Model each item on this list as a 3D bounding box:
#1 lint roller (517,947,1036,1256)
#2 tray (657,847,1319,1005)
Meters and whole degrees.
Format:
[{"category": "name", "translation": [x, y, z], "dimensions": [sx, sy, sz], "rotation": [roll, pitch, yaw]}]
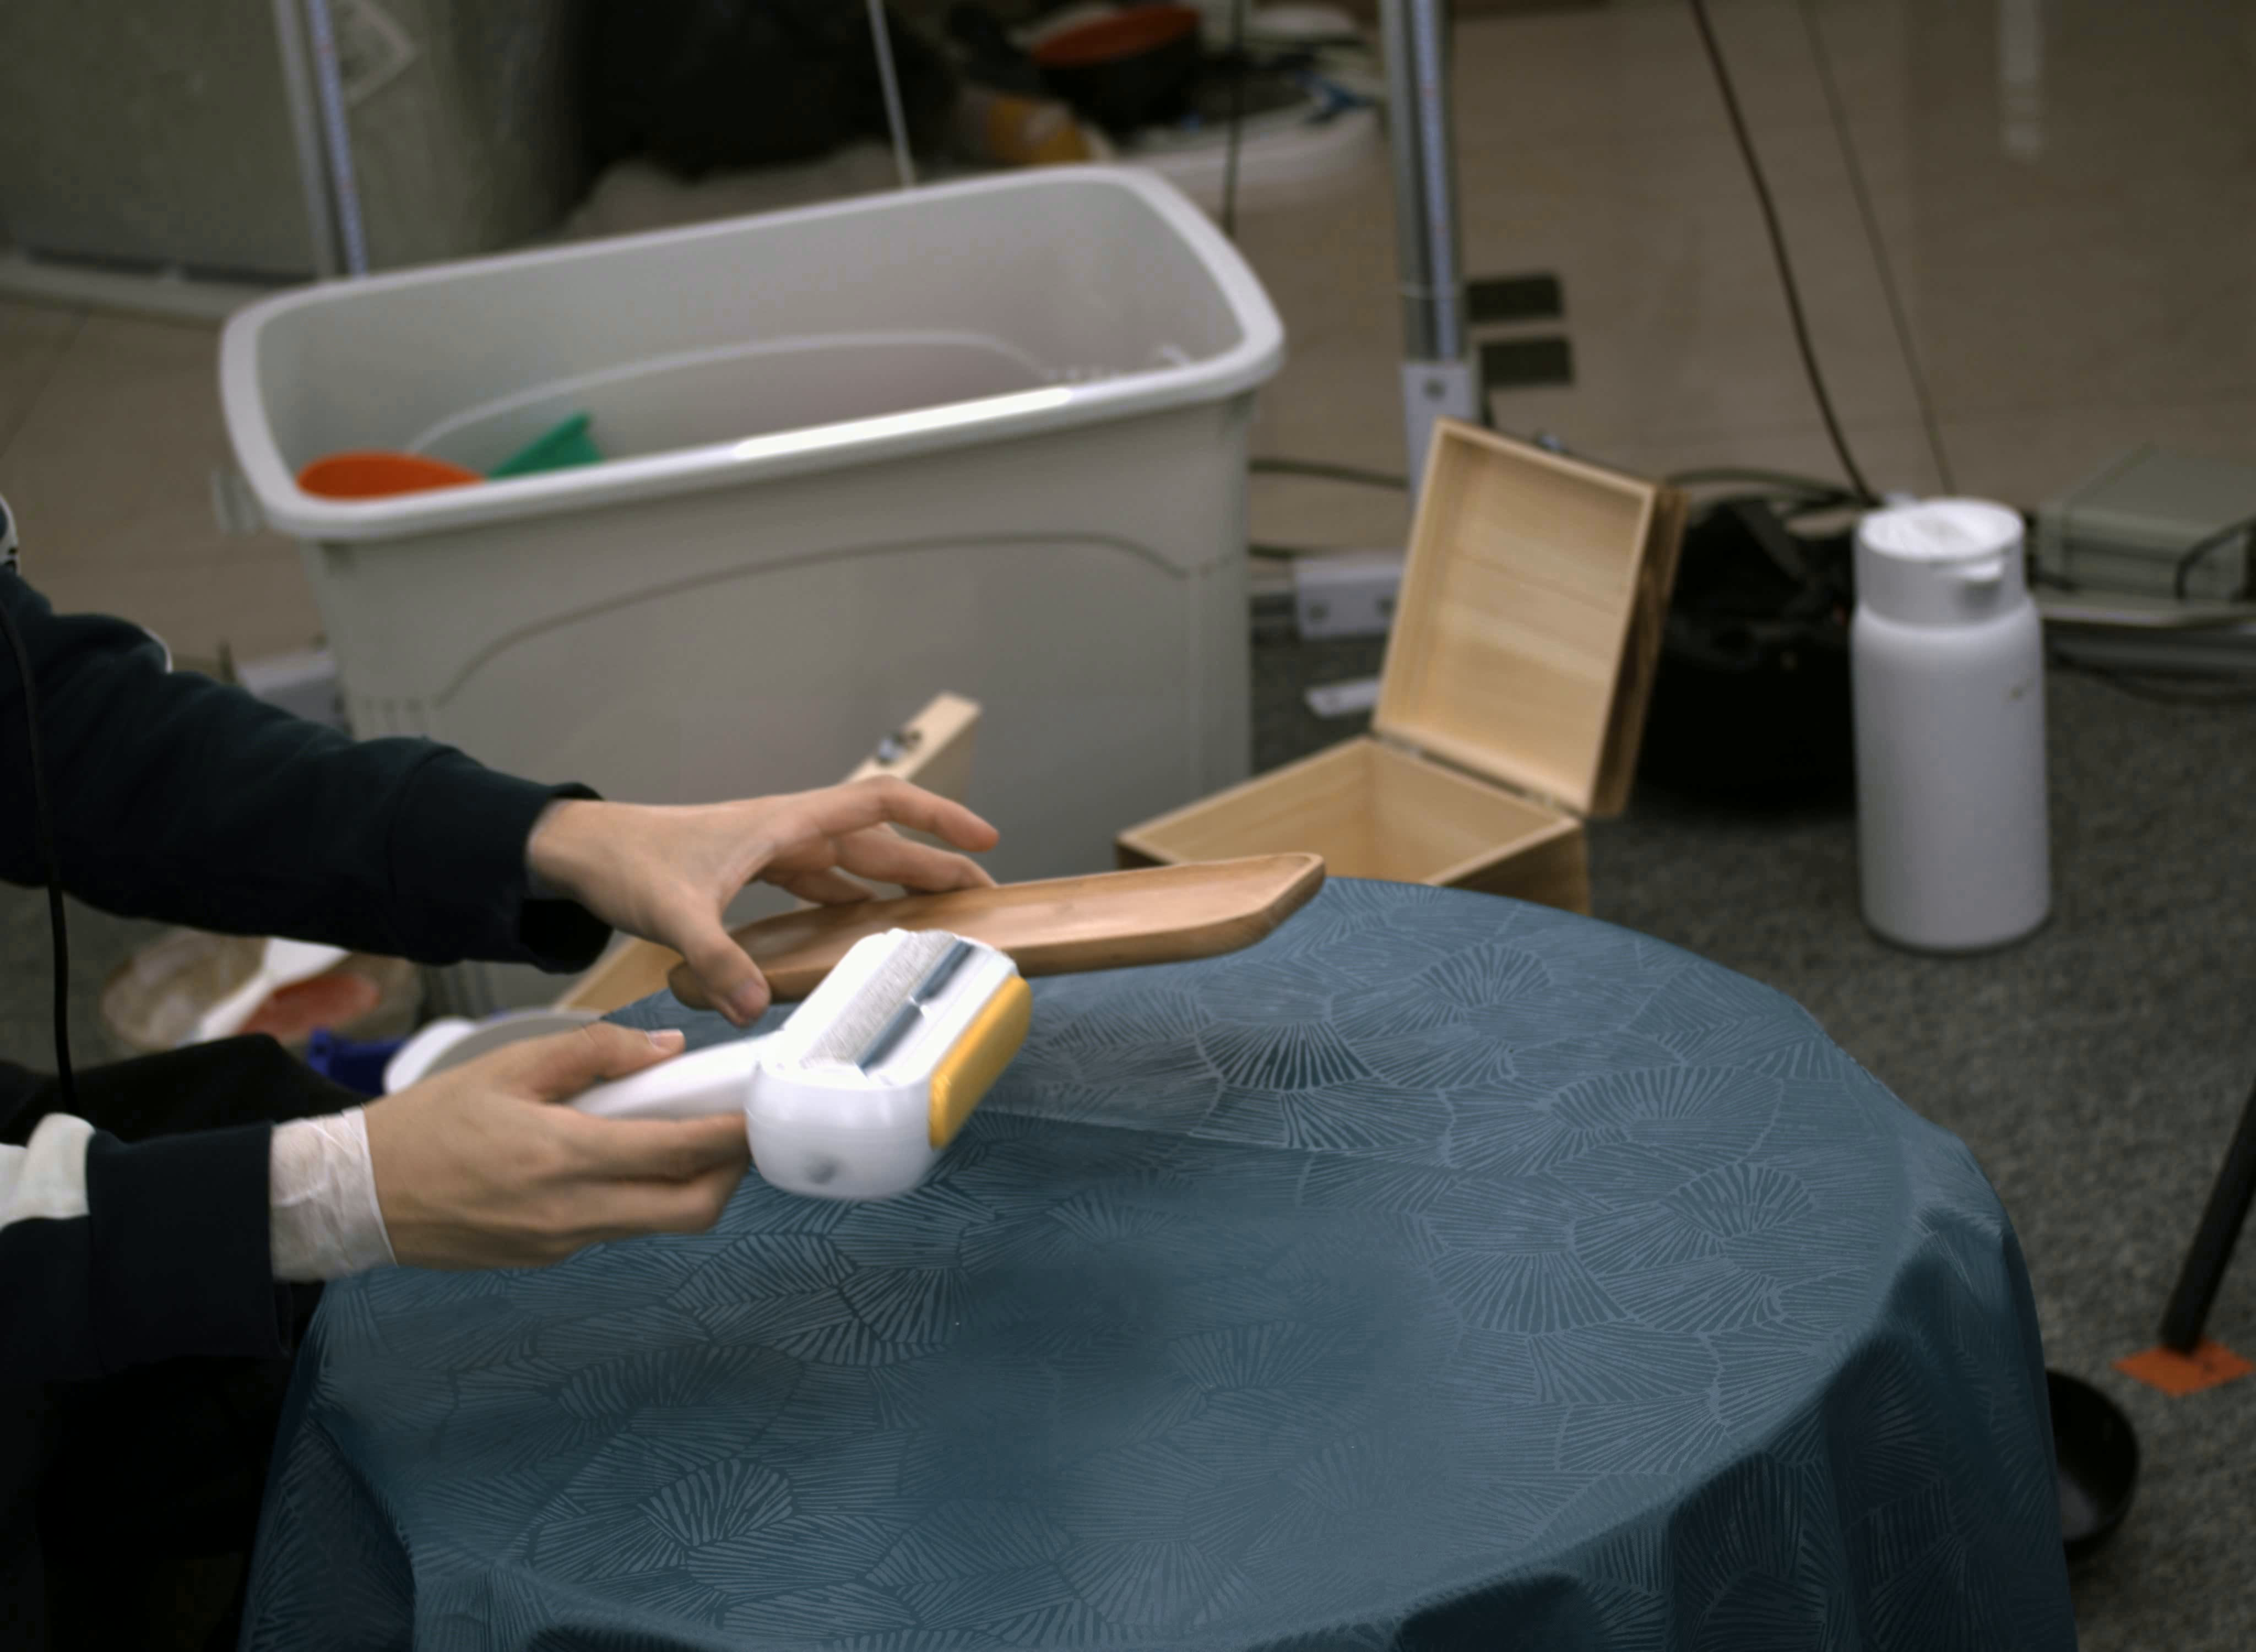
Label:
[{"category": "lint roller", "translation": [-0.140, 0.107, 2.035], "dimensions": [0.192, 0.075, 0.191], "rotation": [-14, 12, 22]}, {"category": "tray", "translation": [-0.054, 0.039, 2.211], "dimensions": [0.250, 0.023, 0.130], "rotation": [-7, 8, 21]}]
